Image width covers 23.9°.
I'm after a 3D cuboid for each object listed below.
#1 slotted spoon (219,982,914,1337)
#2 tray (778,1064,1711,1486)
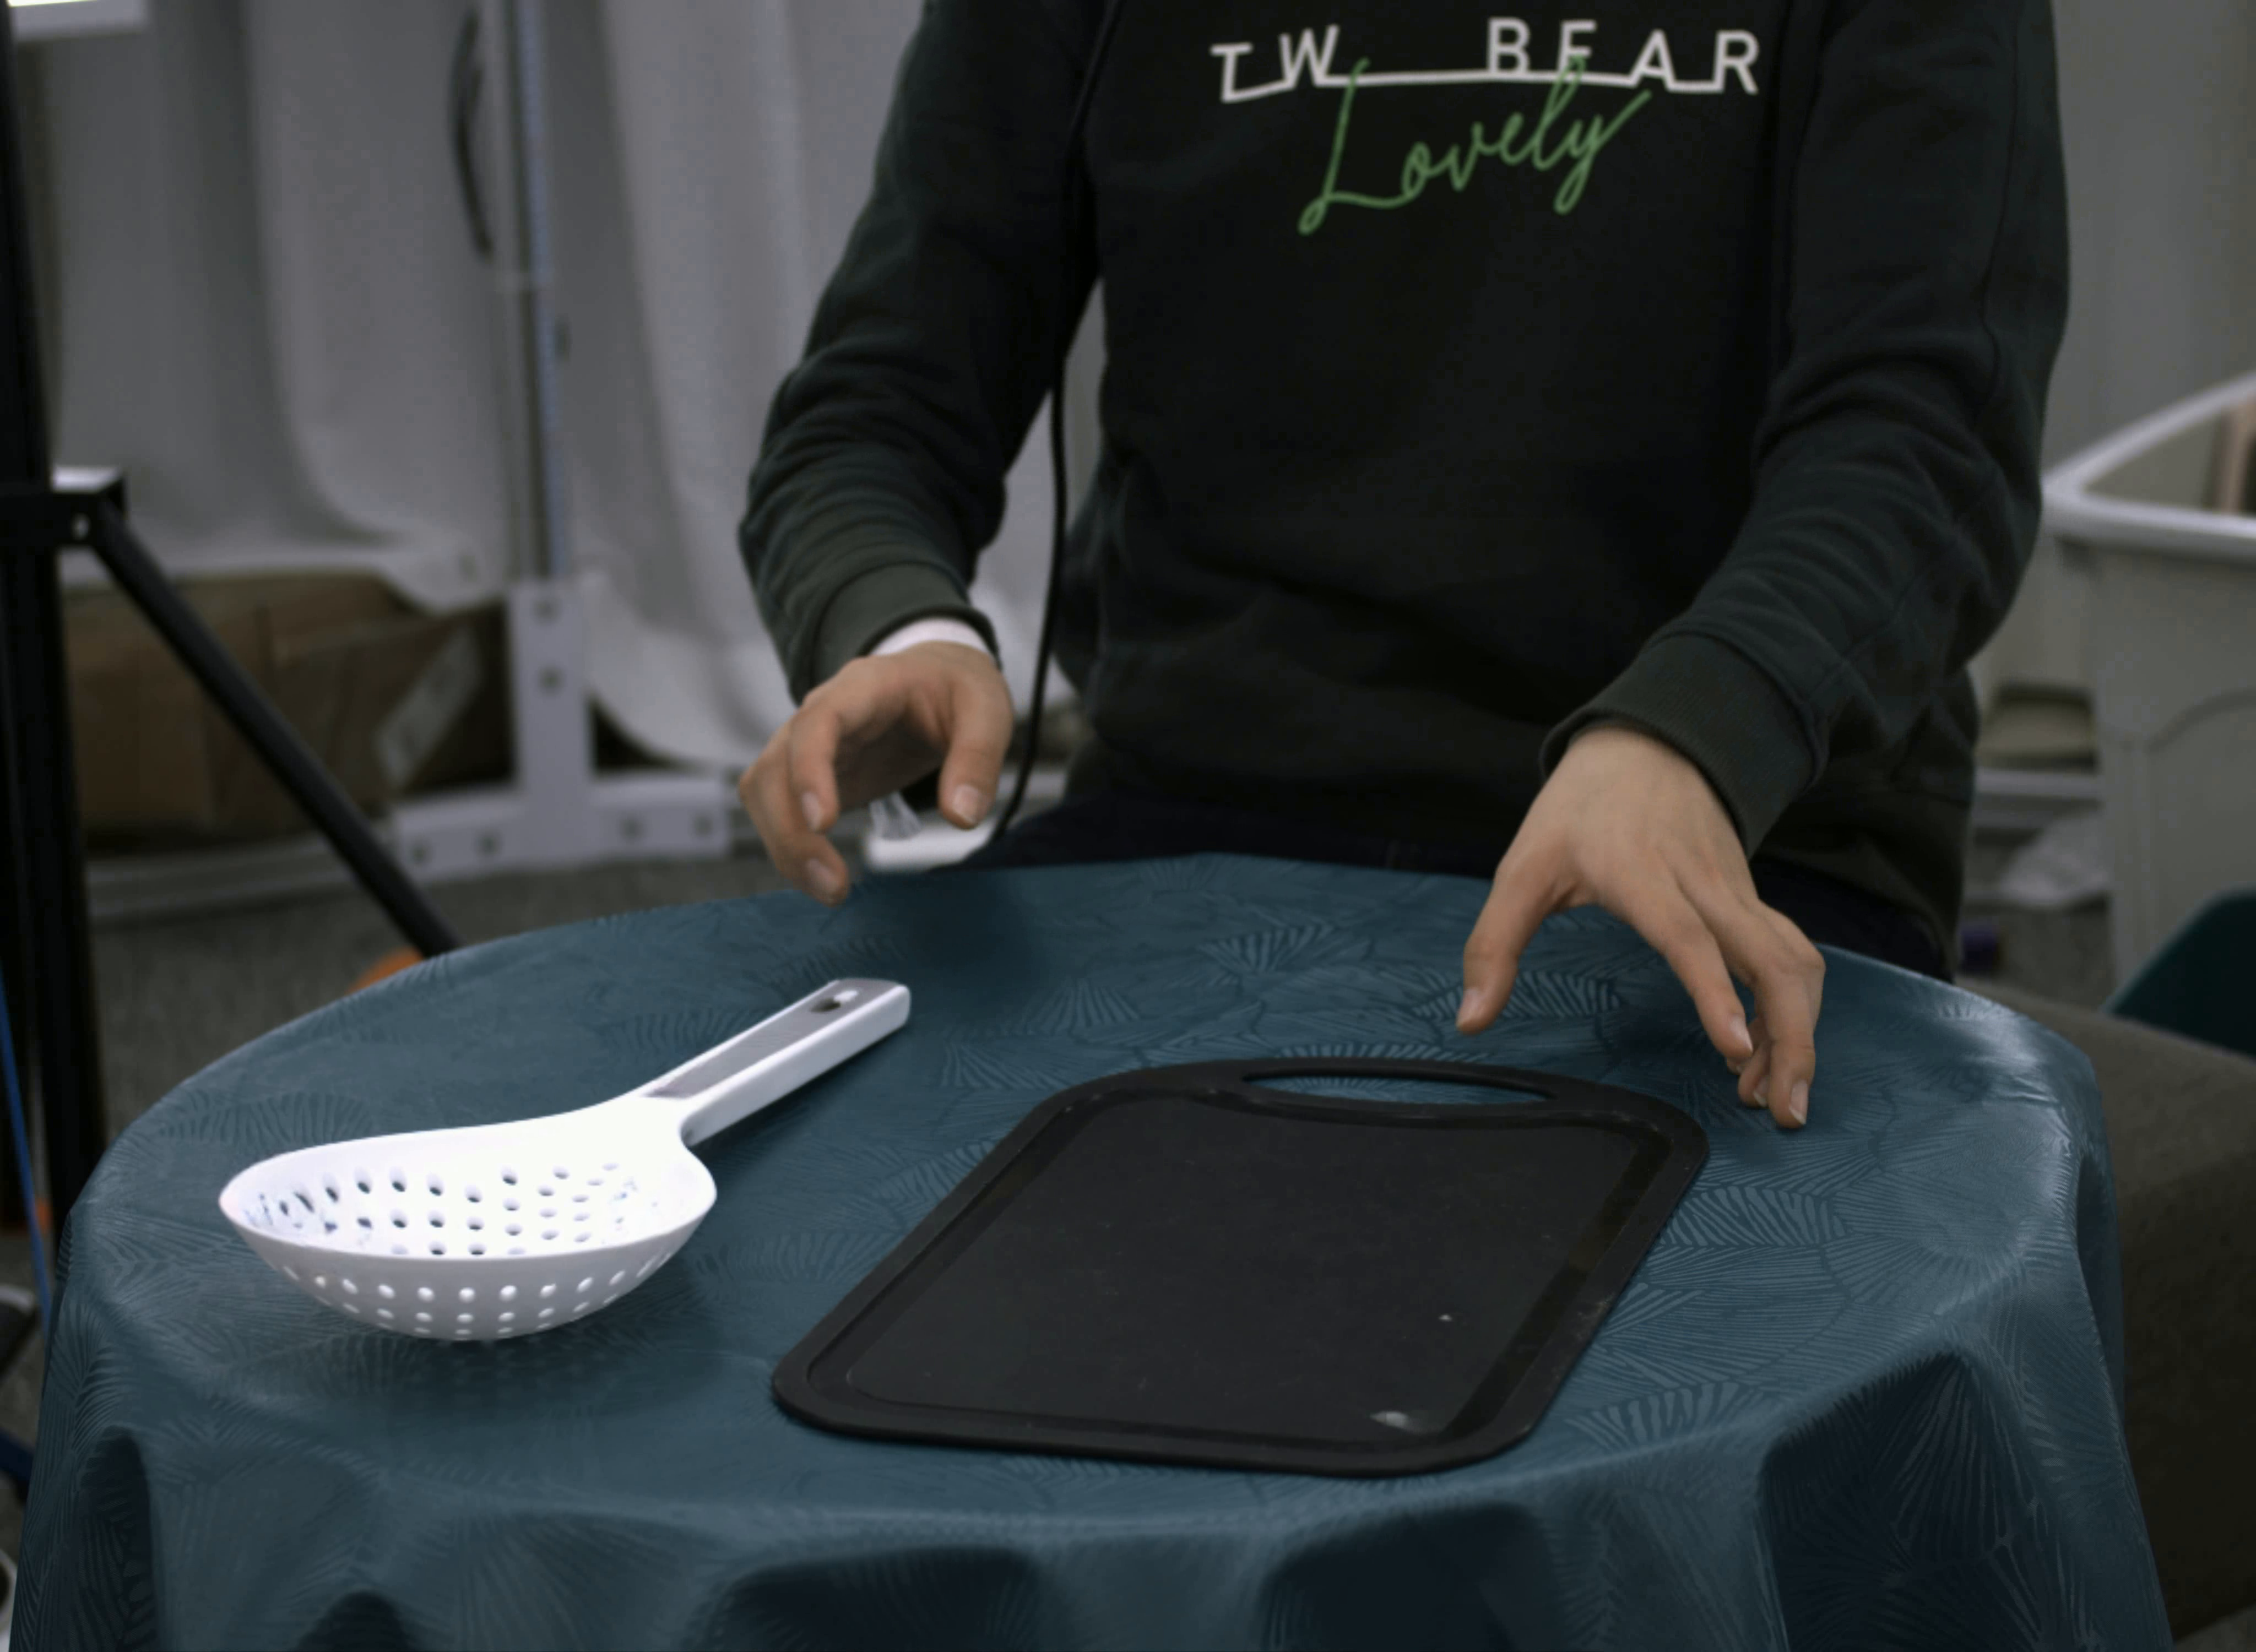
[{"bbox_3d":[-0.143,0.088,1.567,0.138,0.046,0.345,6,17,21],"label":"slotted spoon"},{"bbox_3d":[0.042,0.118,1.504,0.213,0.010,0.322,3,16,19],"label":"tray"}]
